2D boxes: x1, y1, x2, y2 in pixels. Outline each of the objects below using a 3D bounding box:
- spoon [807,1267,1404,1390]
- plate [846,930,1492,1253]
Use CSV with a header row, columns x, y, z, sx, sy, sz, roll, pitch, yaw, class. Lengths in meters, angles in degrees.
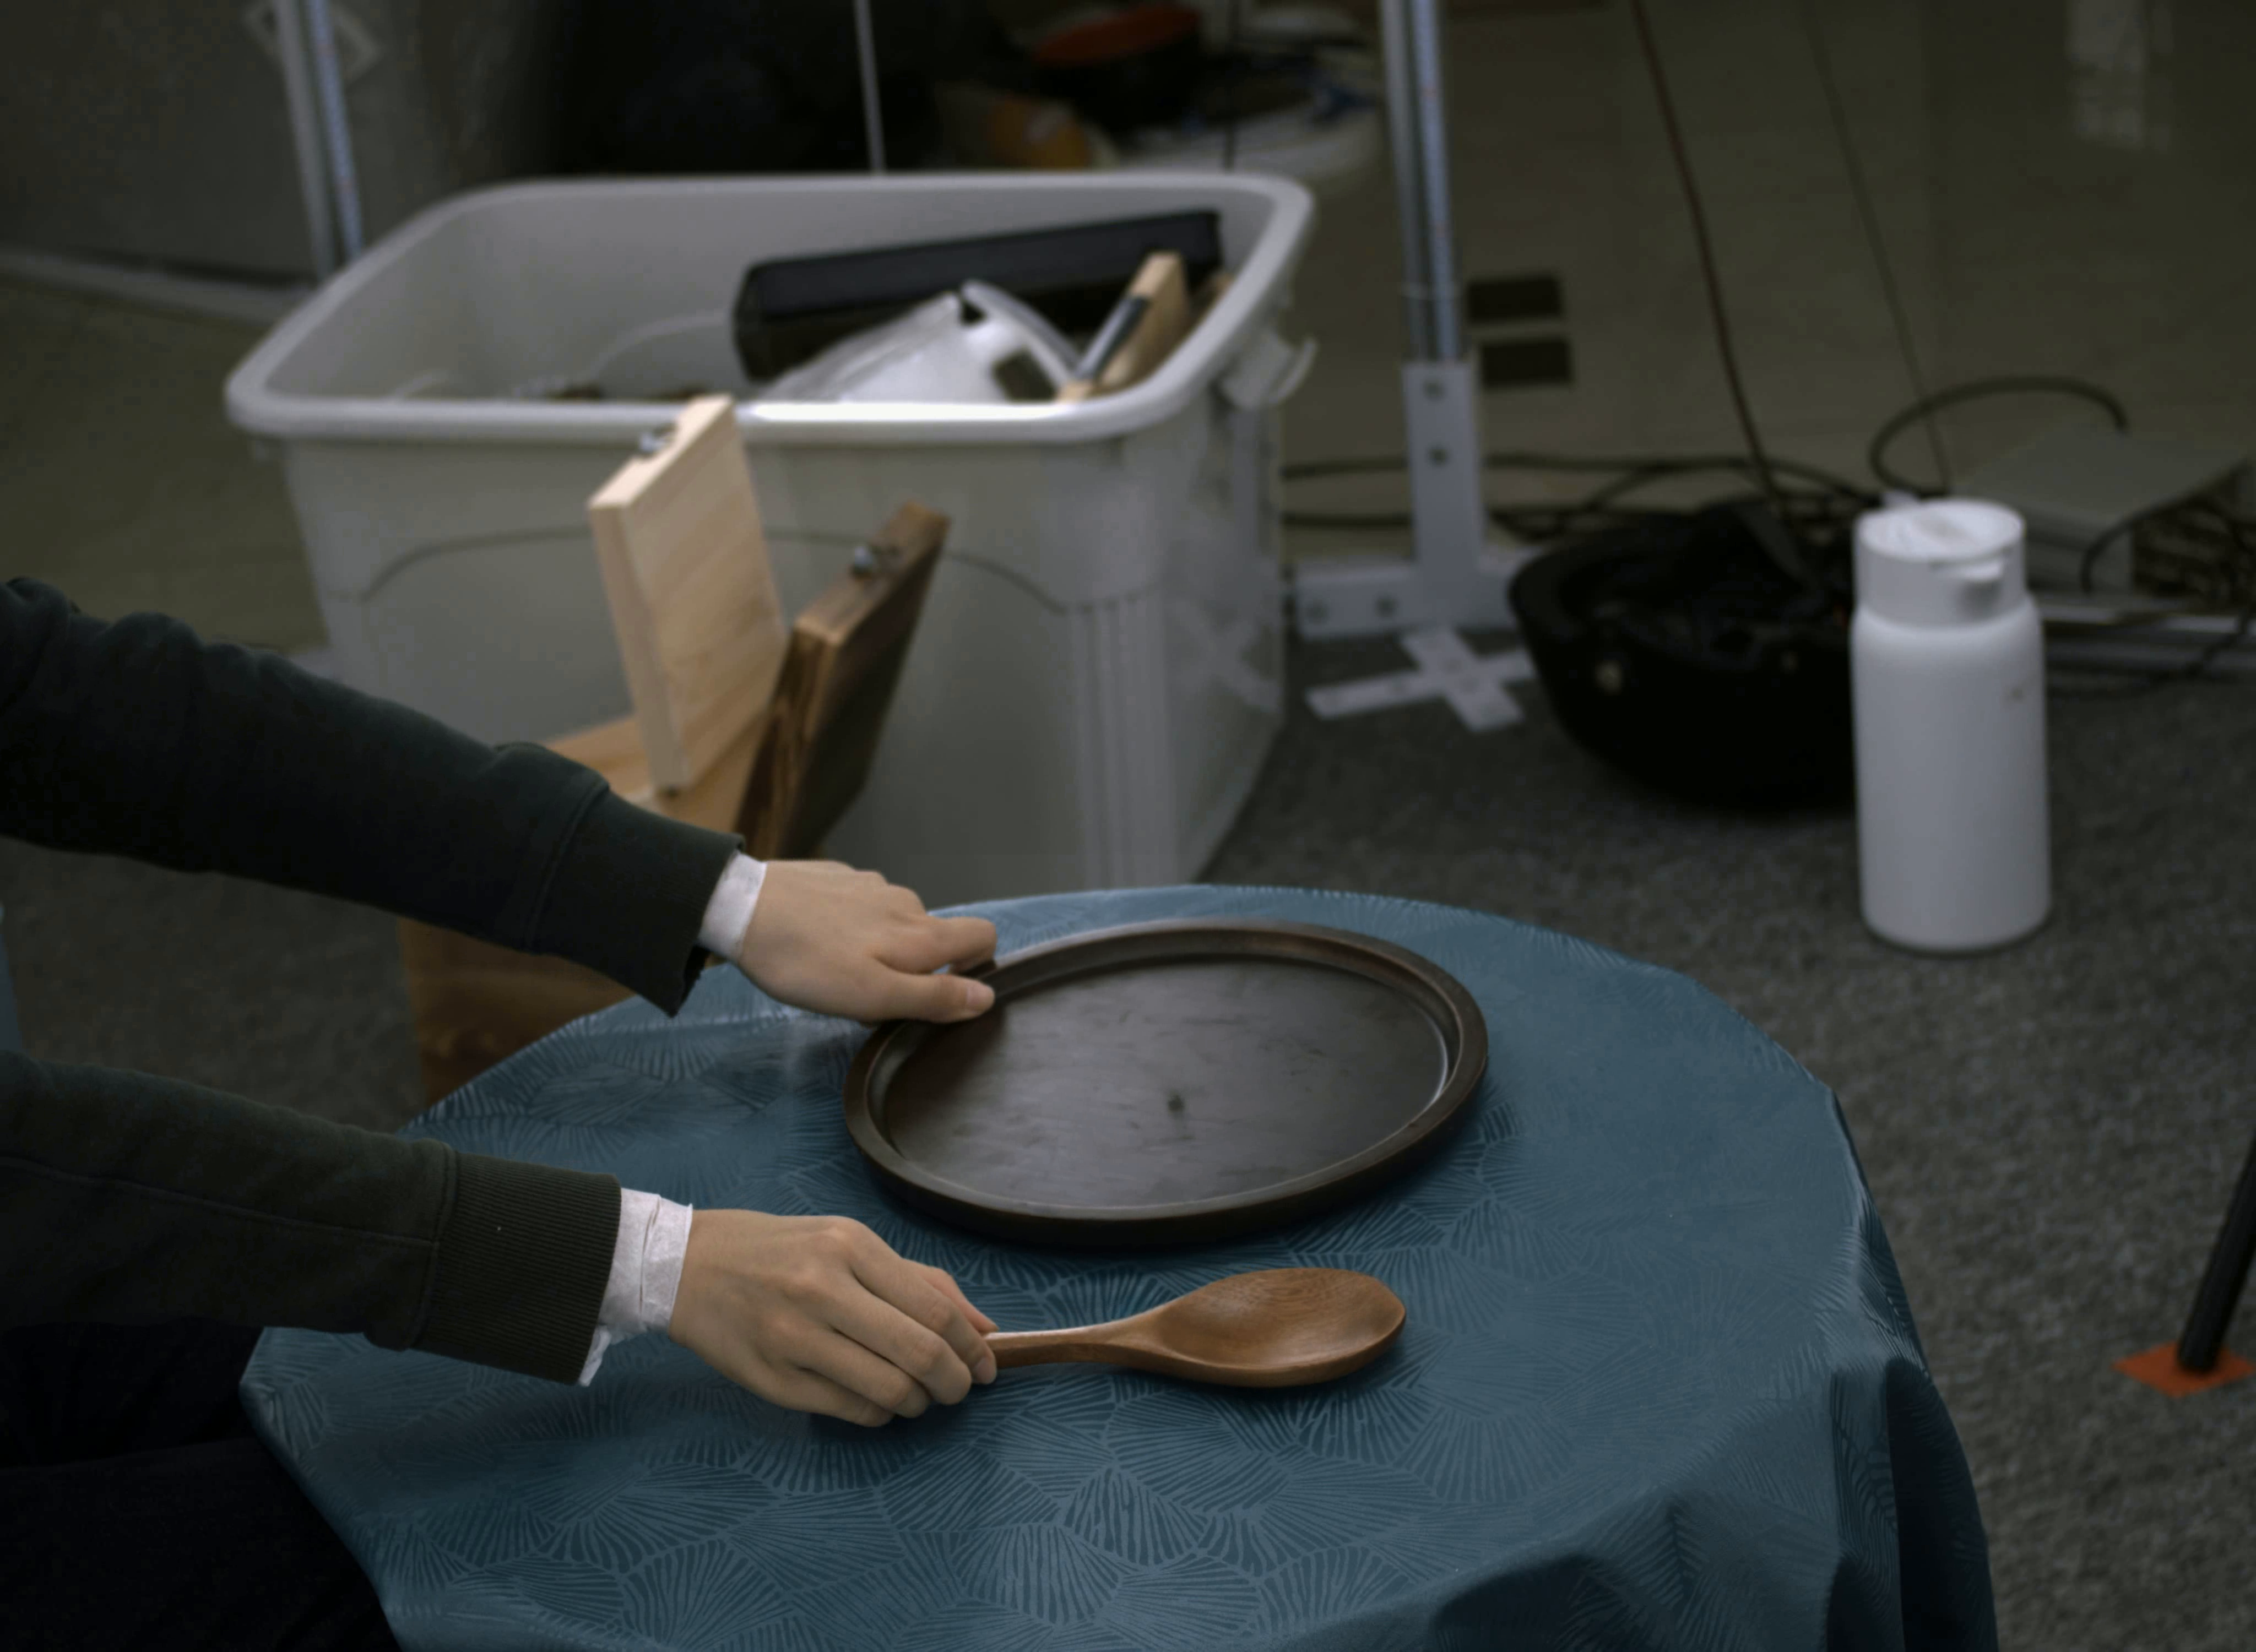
x,y,z,sx,sy,sz,roll,pitch,yaw,class
-0.008,0.186,2.033,0.215,0.017,0.074,-4,25,5,spoon
0.016,0.101,2.205,0.254,0.029,0.251,-5,24,2,plate
